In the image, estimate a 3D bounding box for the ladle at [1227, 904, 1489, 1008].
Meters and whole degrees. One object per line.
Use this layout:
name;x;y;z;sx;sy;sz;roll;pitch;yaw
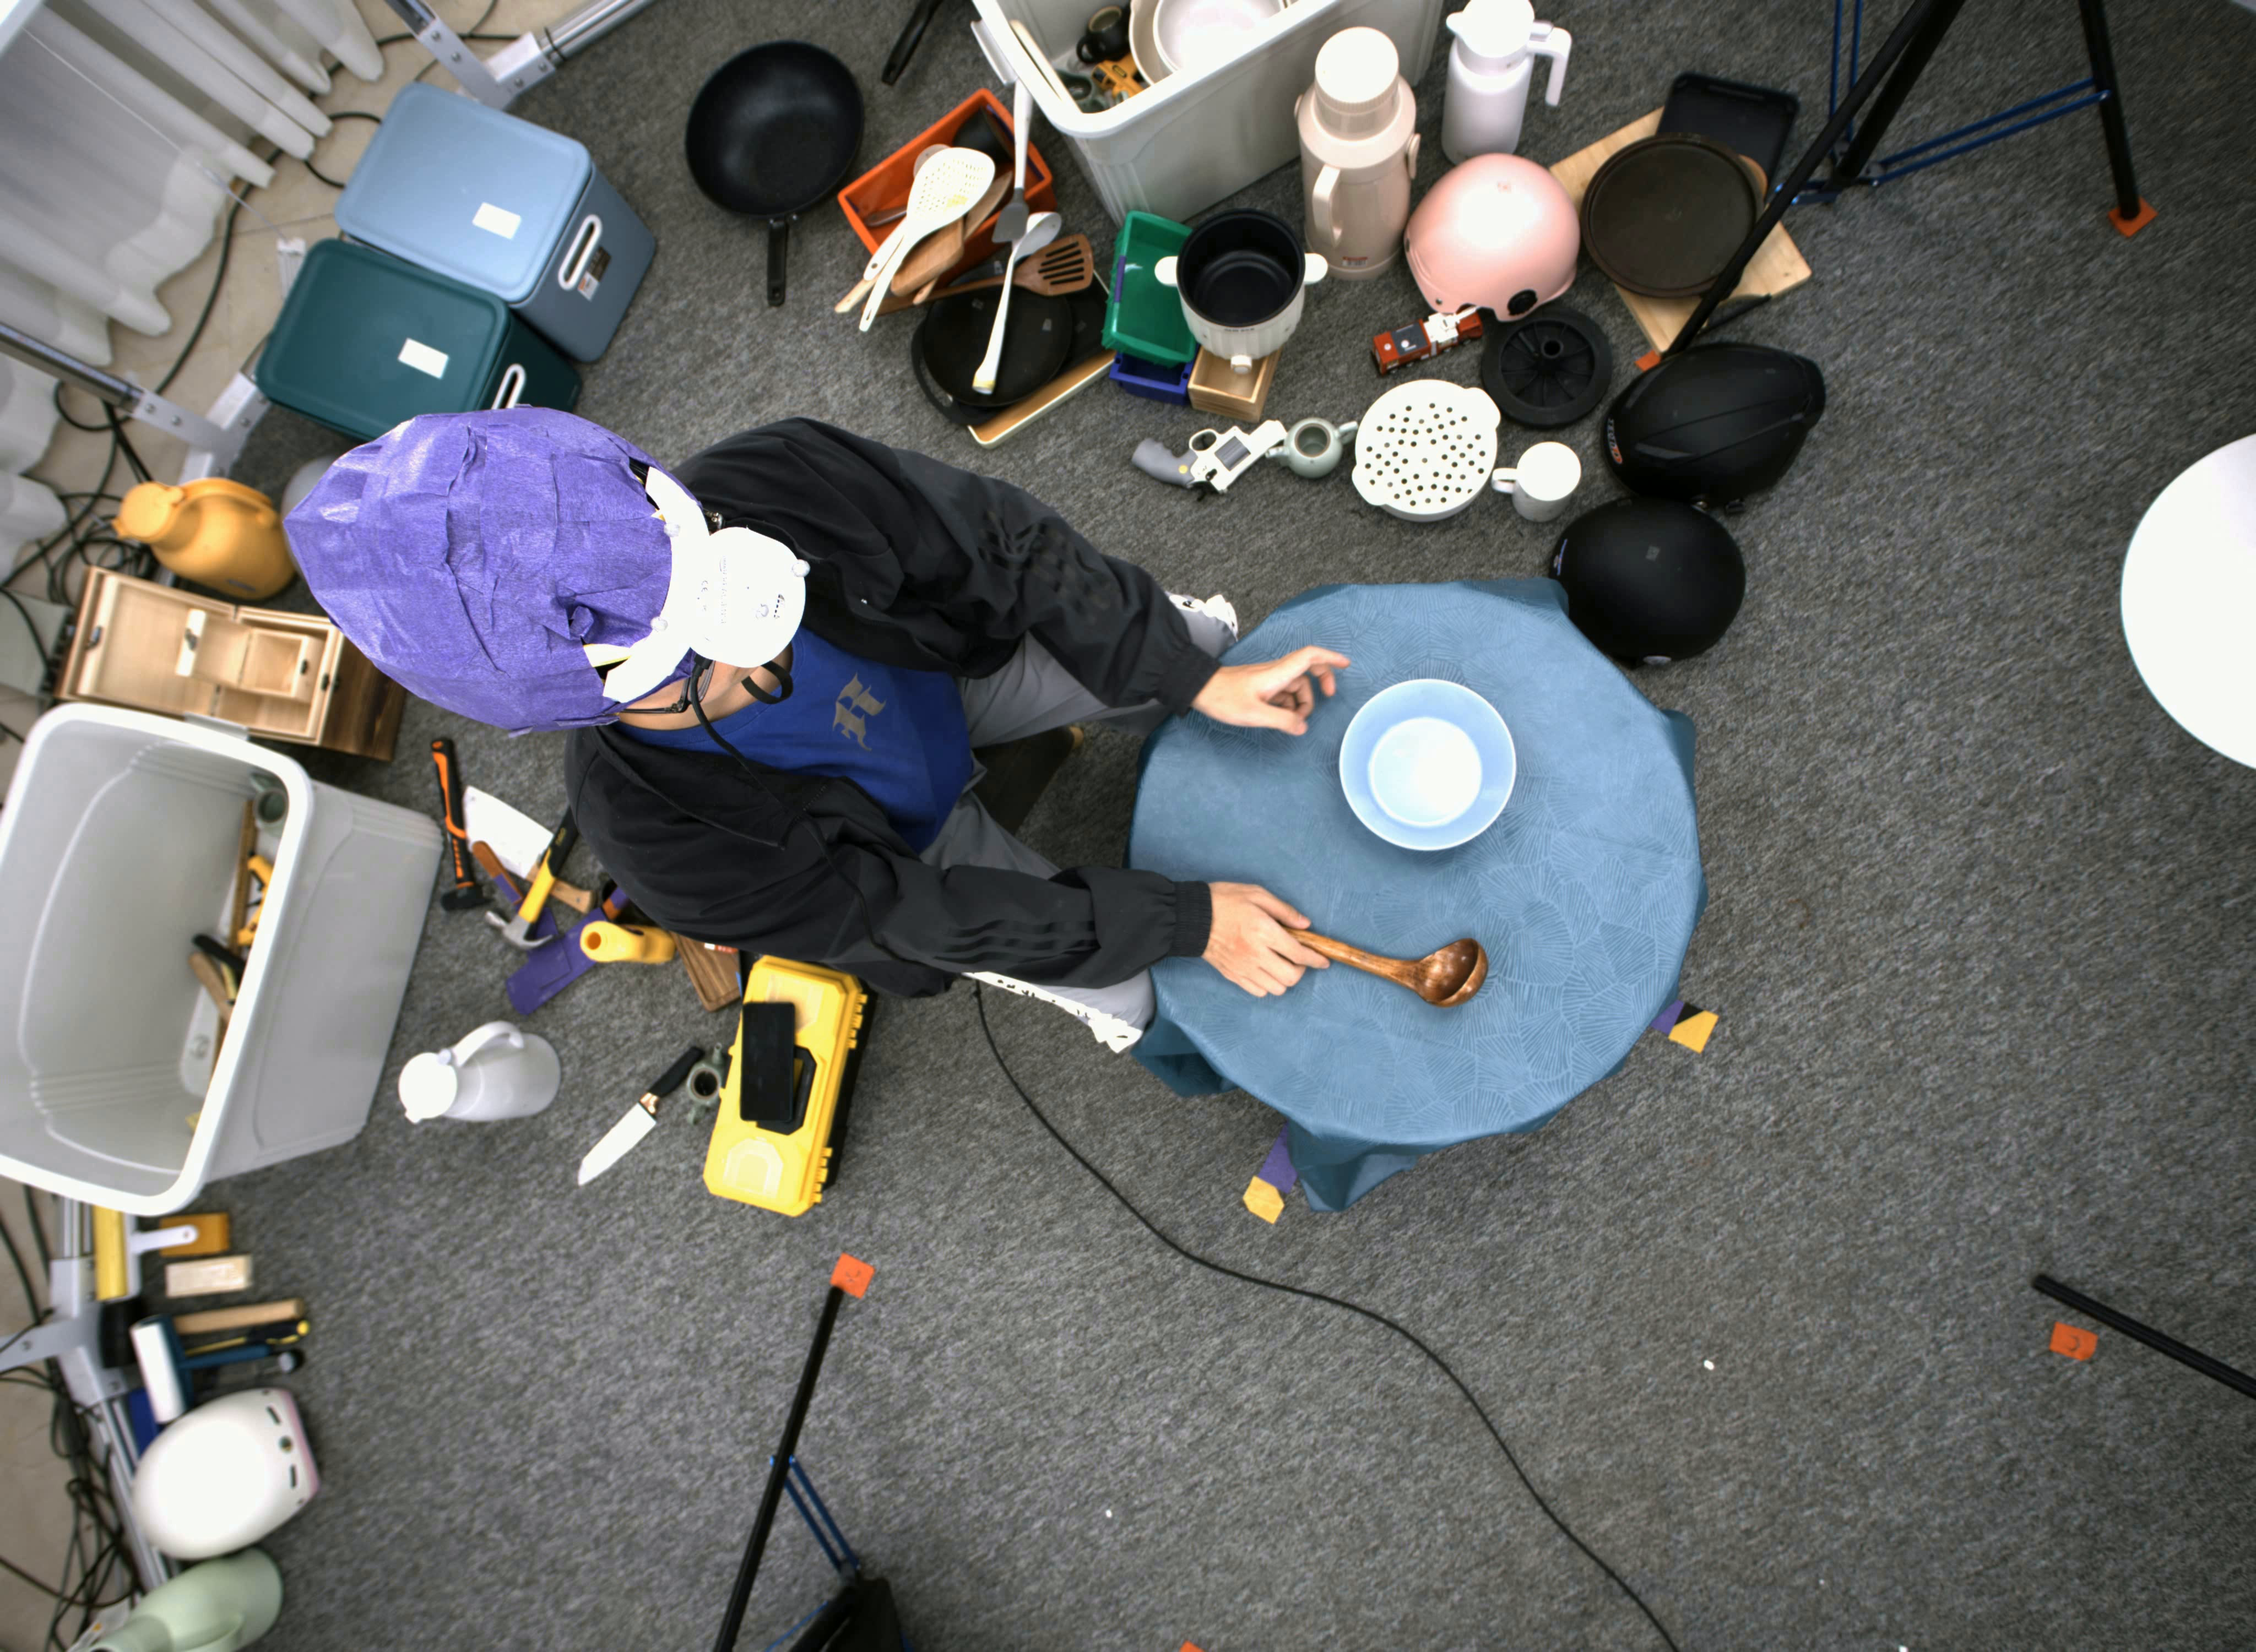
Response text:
ladle;0.234;0.116;1.427;0.274;0.078;0.080;20;47;13

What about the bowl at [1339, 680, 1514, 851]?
bowl;0.307;-0.060;1.422;0.177;0.070;0.175;-1;86;11
